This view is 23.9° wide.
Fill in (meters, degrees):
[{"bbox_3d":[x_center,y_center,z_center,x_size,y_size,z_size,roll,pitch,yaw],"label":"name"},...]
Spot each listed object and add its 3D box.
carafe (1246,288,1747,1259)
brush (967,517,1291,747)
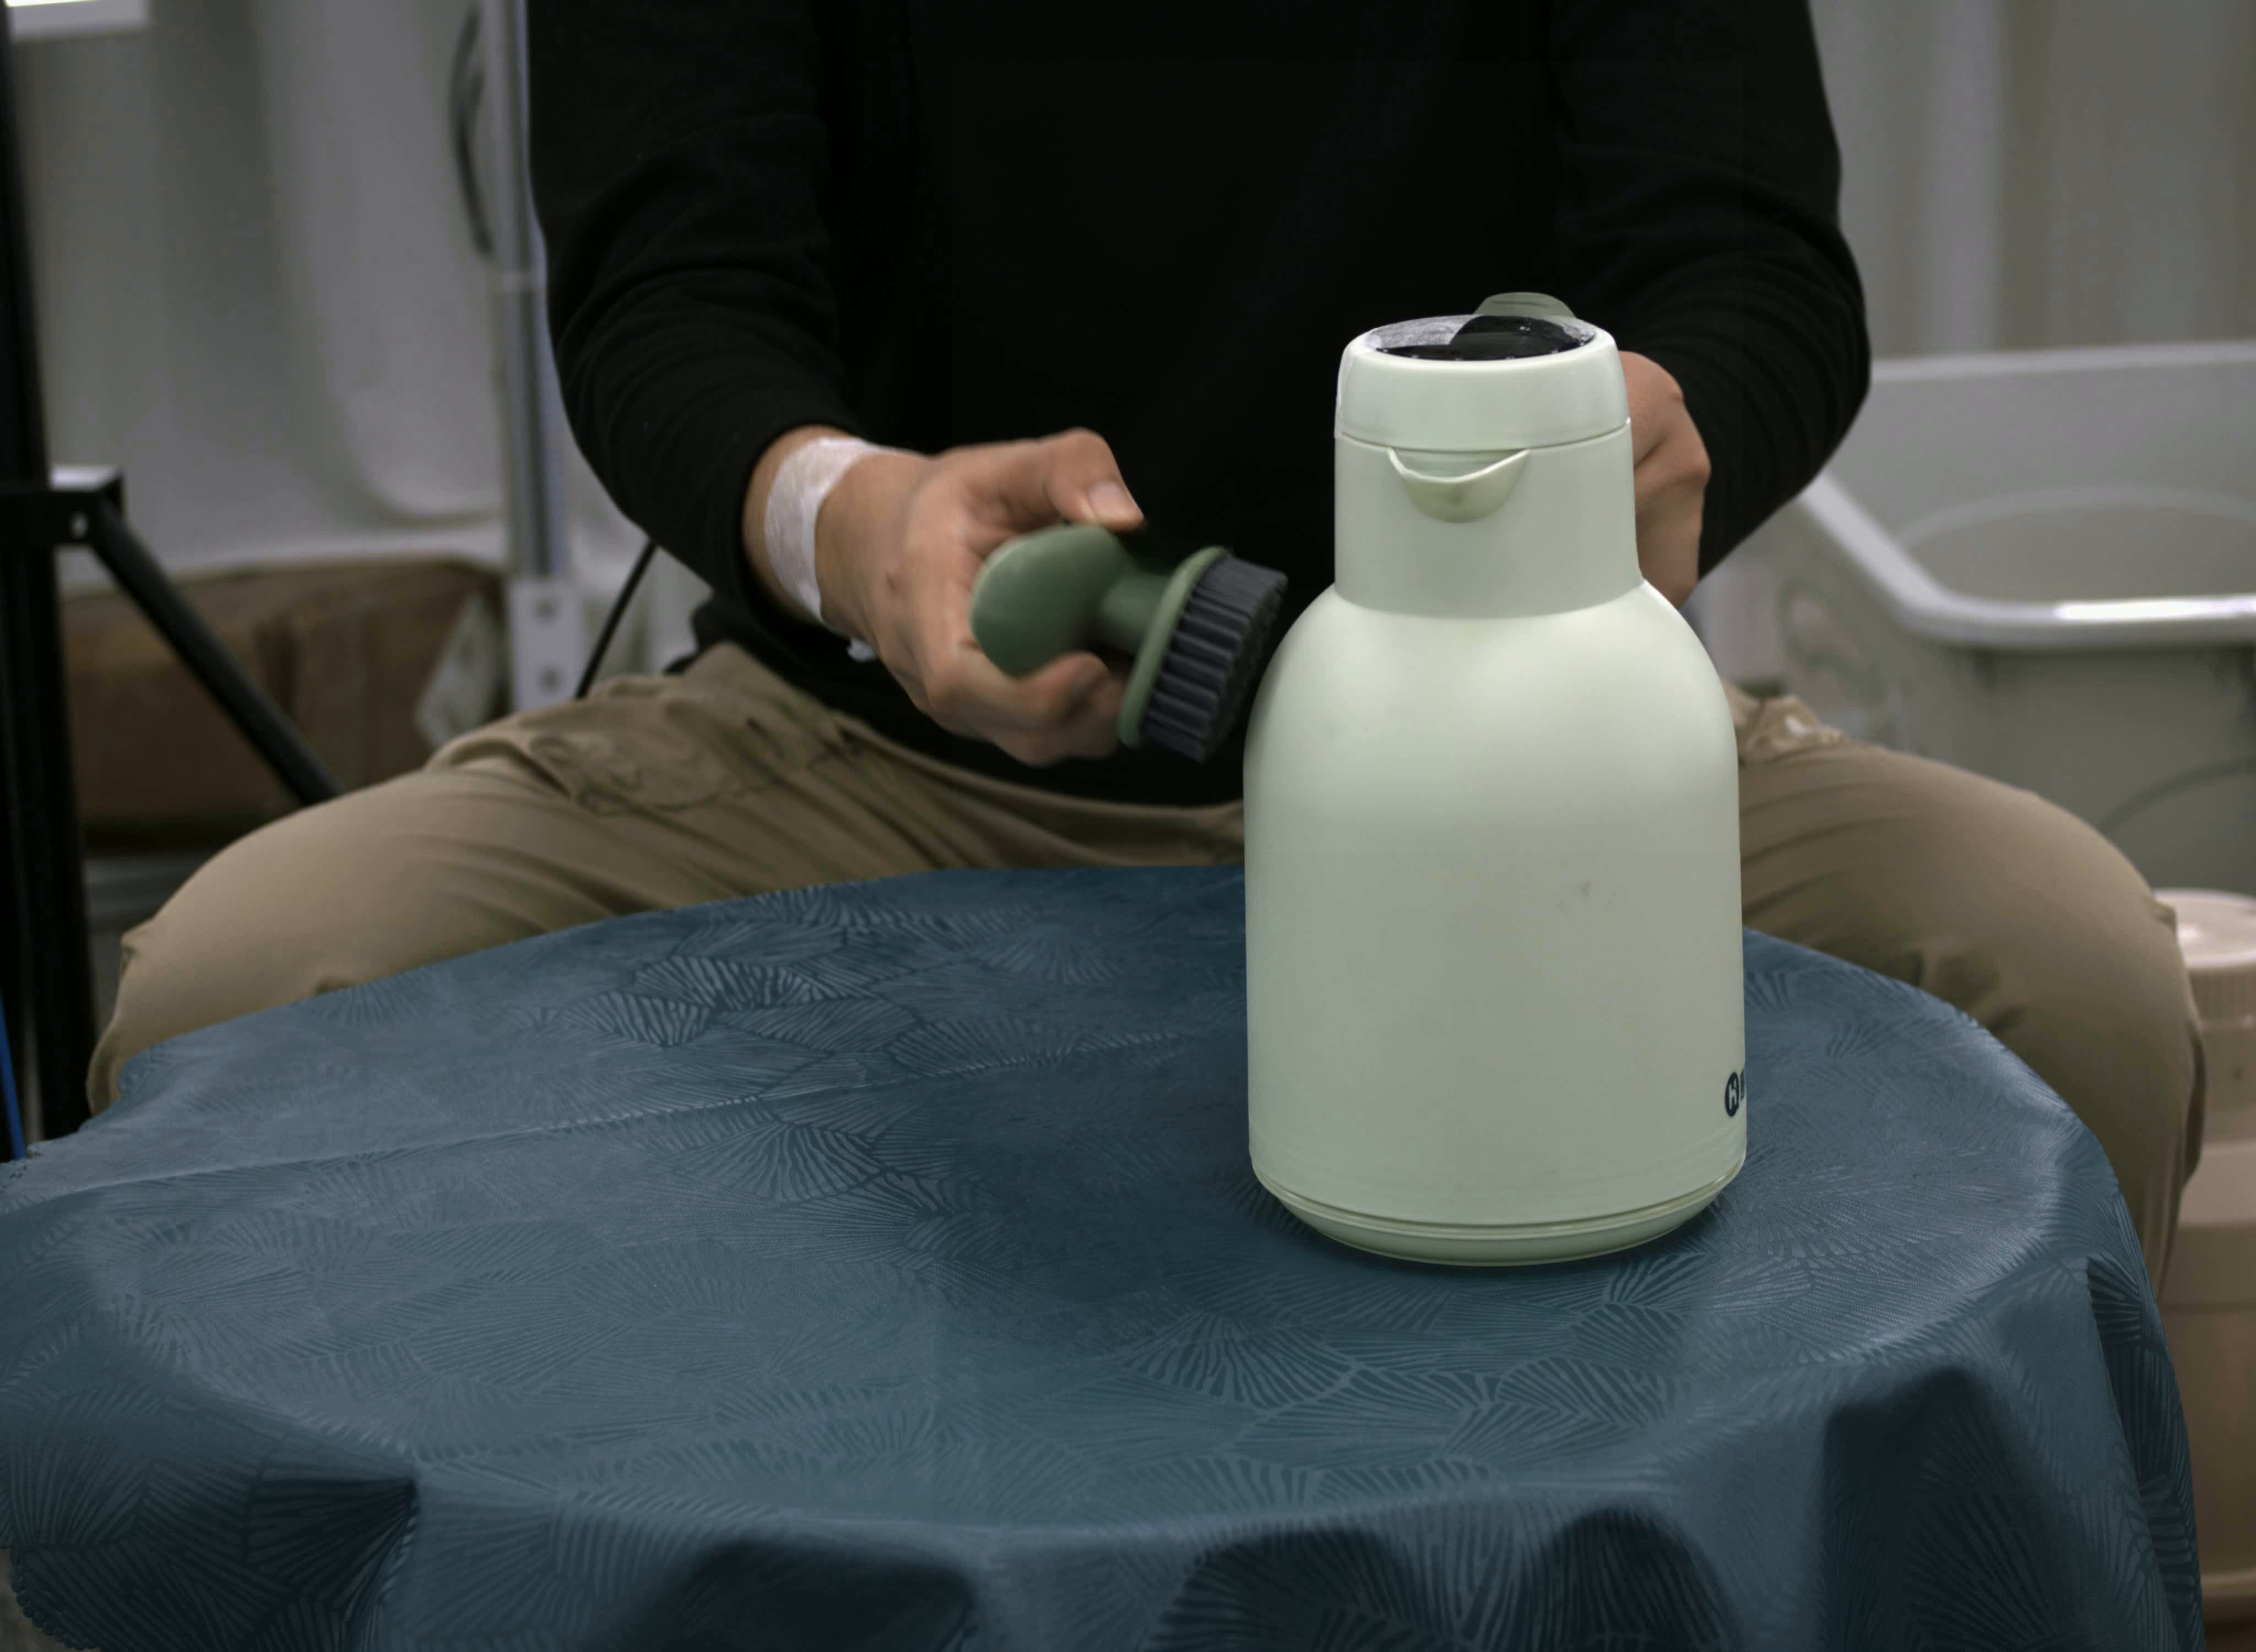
[{"bbox_3d":[0.107,-0.019,1.520,0.145,0.257,0.185,2,13,16],"label":"carafe"},{"bbox_3d":[0.010,-0.058,1.534,0.077,0.060,0.121,22,10,20],"label":"brush"}]
